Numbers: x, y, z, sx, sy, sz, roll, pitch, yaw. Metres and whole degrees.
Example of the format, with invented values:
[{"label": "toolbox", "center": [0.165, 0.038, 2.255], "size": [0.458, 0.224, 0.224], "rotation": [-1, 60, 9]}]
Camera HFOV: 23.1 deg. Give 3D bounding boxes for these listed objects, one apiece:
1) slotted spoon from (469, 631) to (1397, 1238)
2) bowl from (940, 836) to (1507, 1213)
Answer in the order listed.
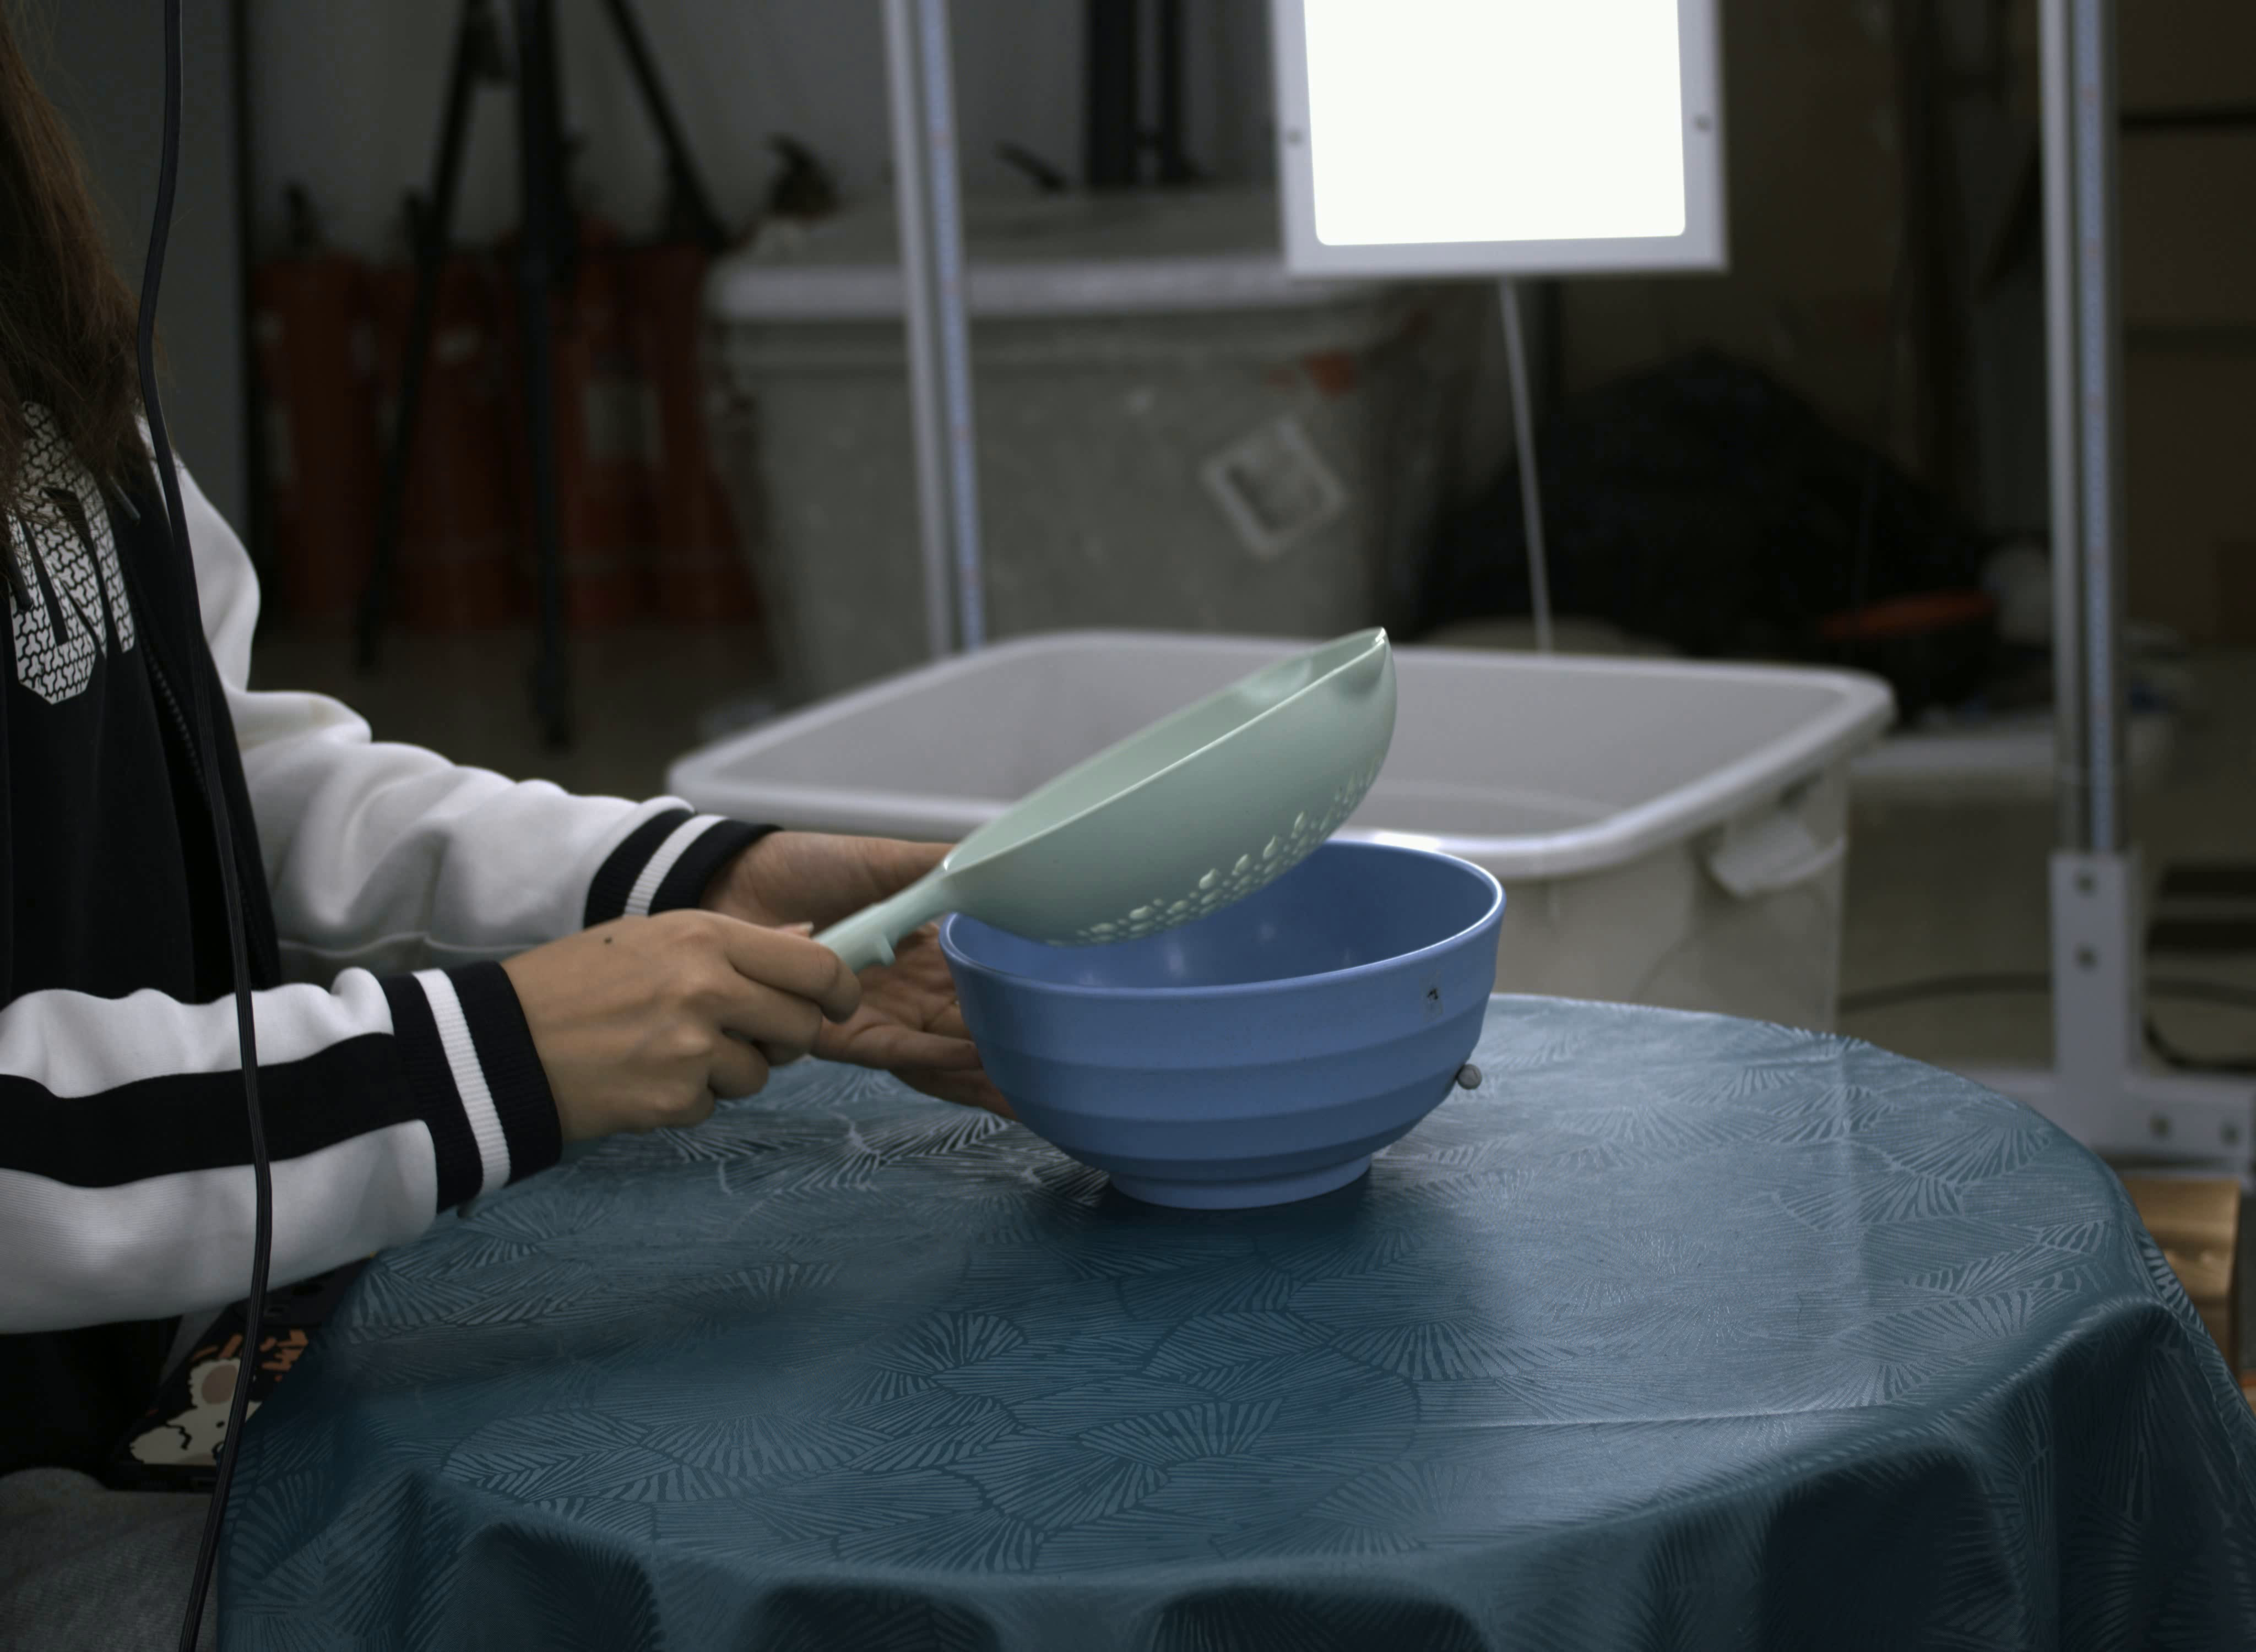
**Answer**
[{"label": "slotted spoon", "center": [-0.065, 0.035, 1.833], "size": [0.355, 0.075, 0.170], "rotation": [-22, 2, -8]}, {"label": "bowl", "center": [0.036, 0.074, 1.901], "size": [0.196, 0.096, 0.196], "rotation": [-6, 14, 0]}]
